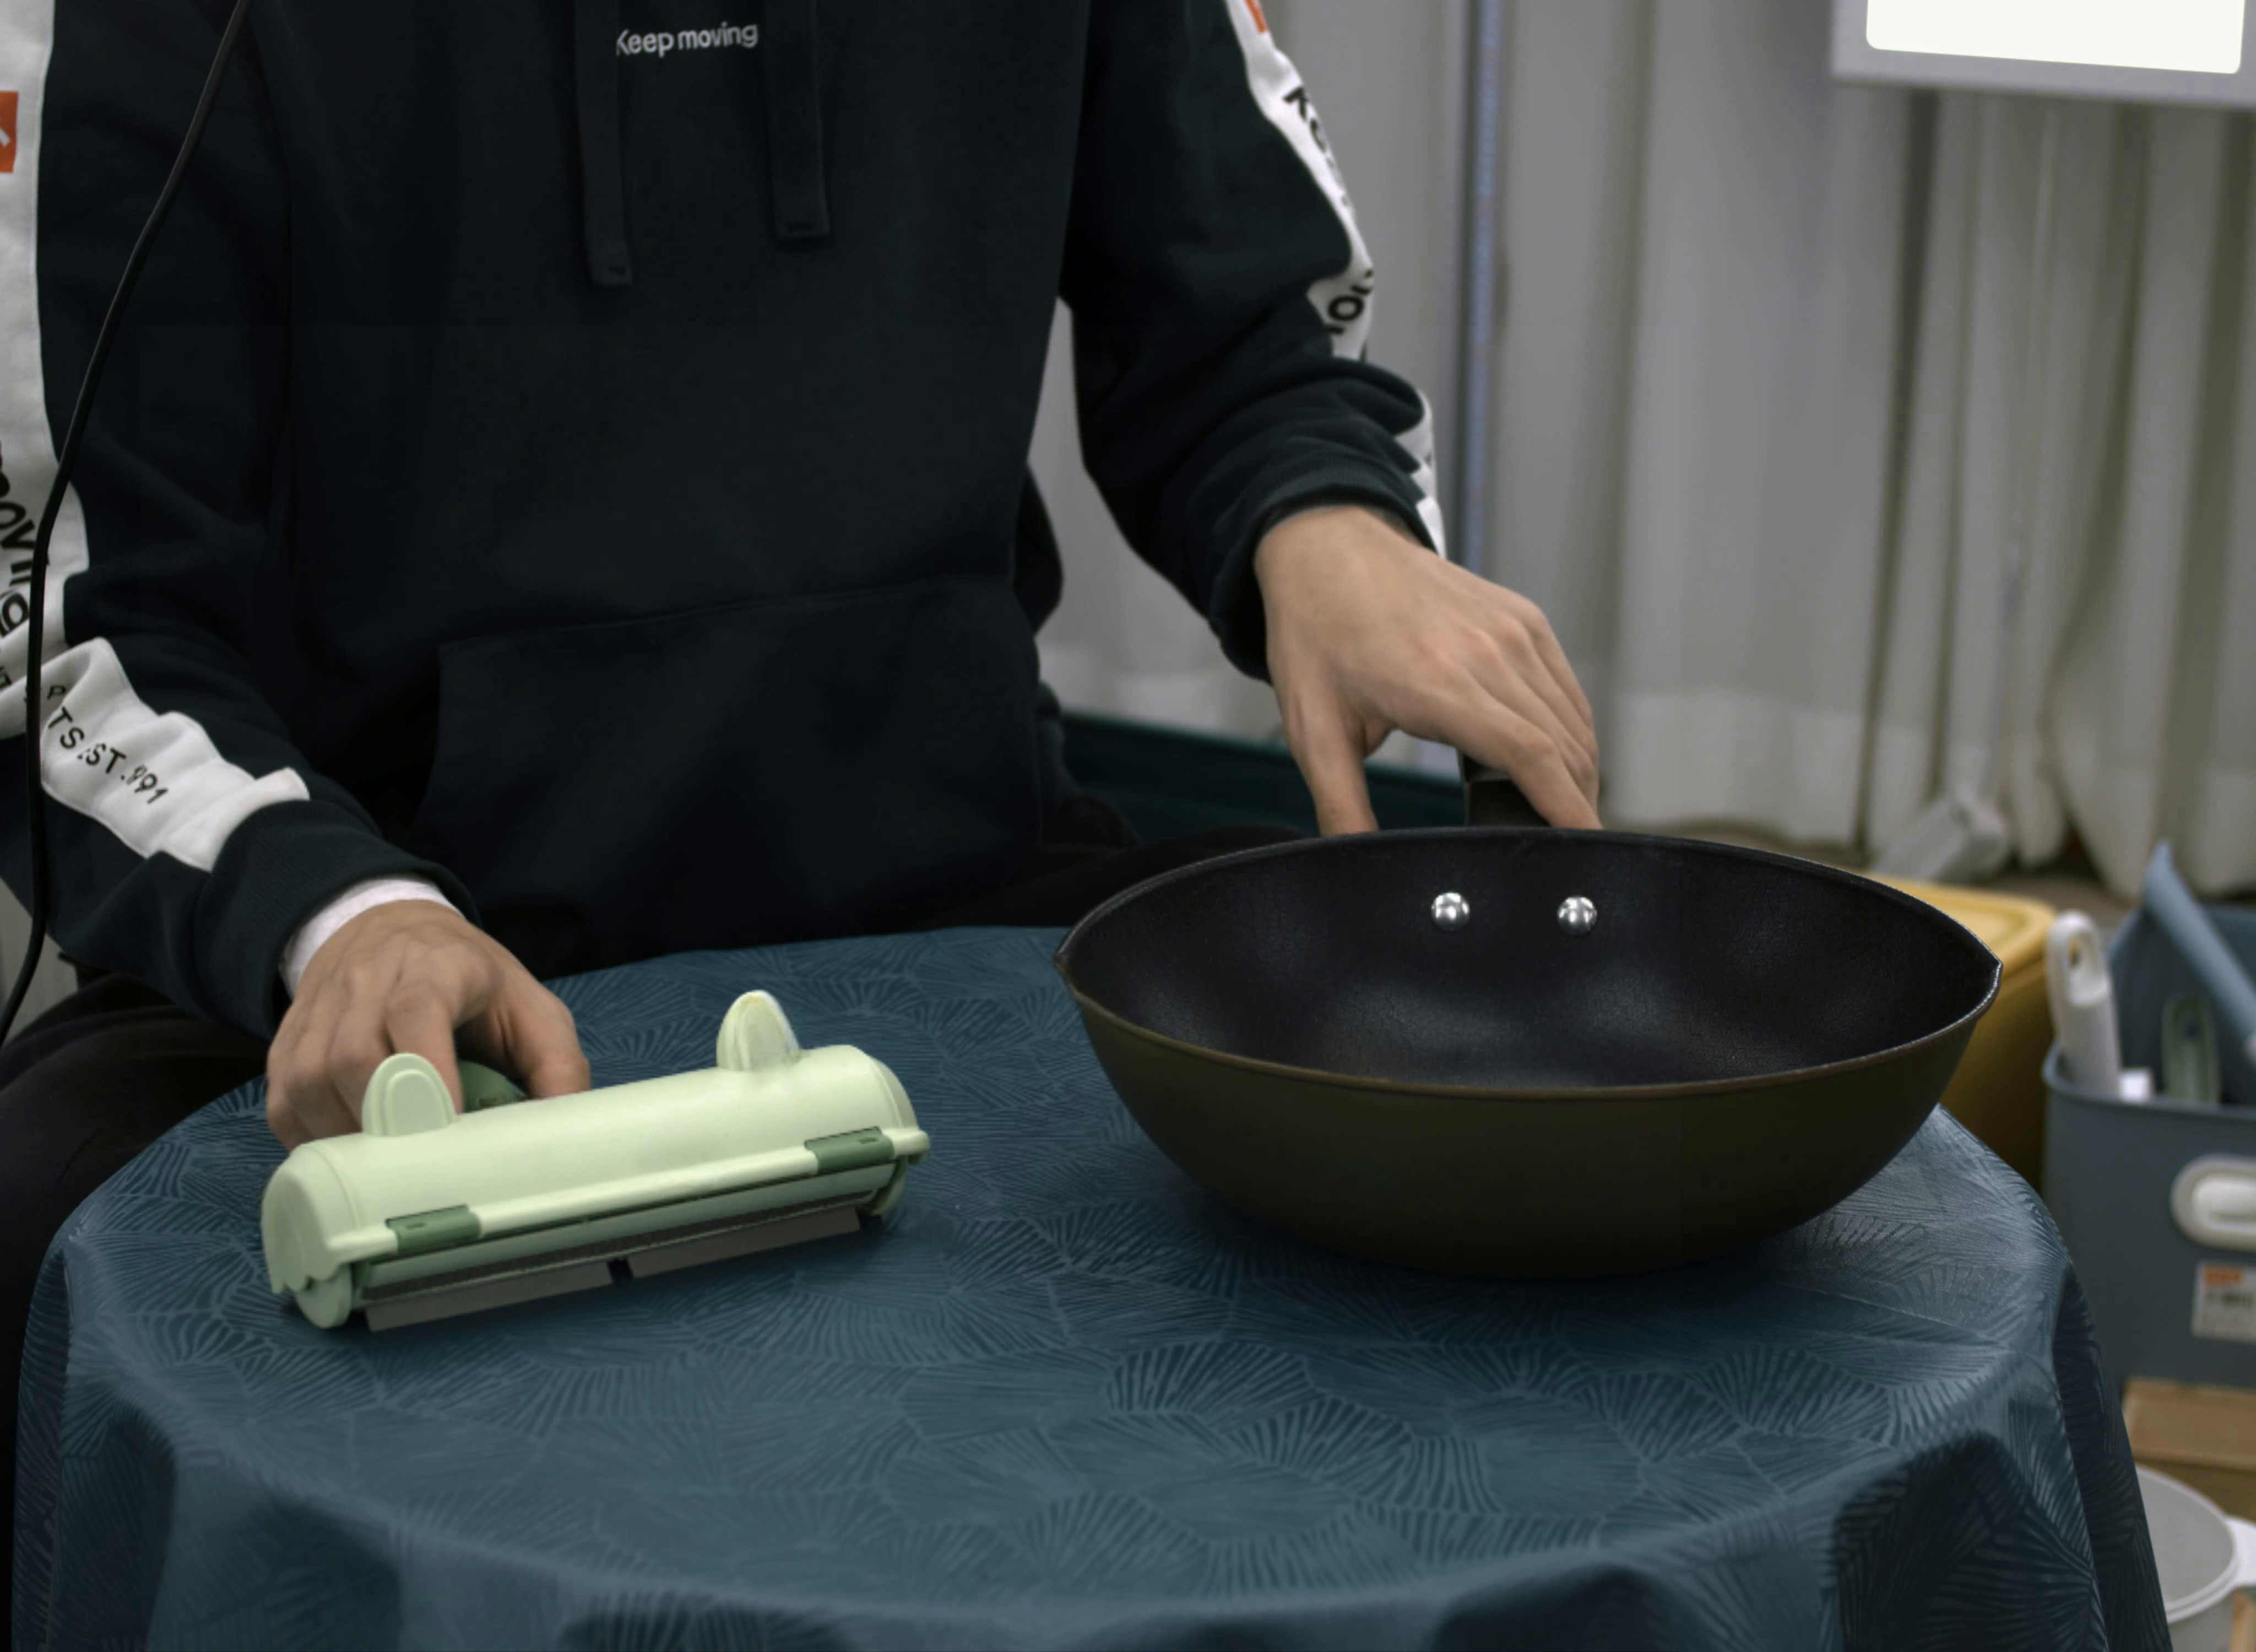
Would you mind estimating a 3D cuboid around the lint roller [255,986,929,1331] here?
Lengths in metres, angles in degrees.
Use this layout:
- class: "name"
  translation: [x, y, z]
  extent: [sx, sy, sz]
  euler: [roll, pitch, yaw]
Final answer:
- class: "lint roller"
  translation: [-0.185, 0.081, 1.586]
  extent: [0.199, 0.083, 0.181]
  euler: [-10, 24, -31]

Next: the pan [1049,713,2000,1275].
- class: "pan"
  translation: [0.121, 0.051, 1.688]
  extent: [0.287, 0.087, 0.461]
  euler: [1, 14, 1]
